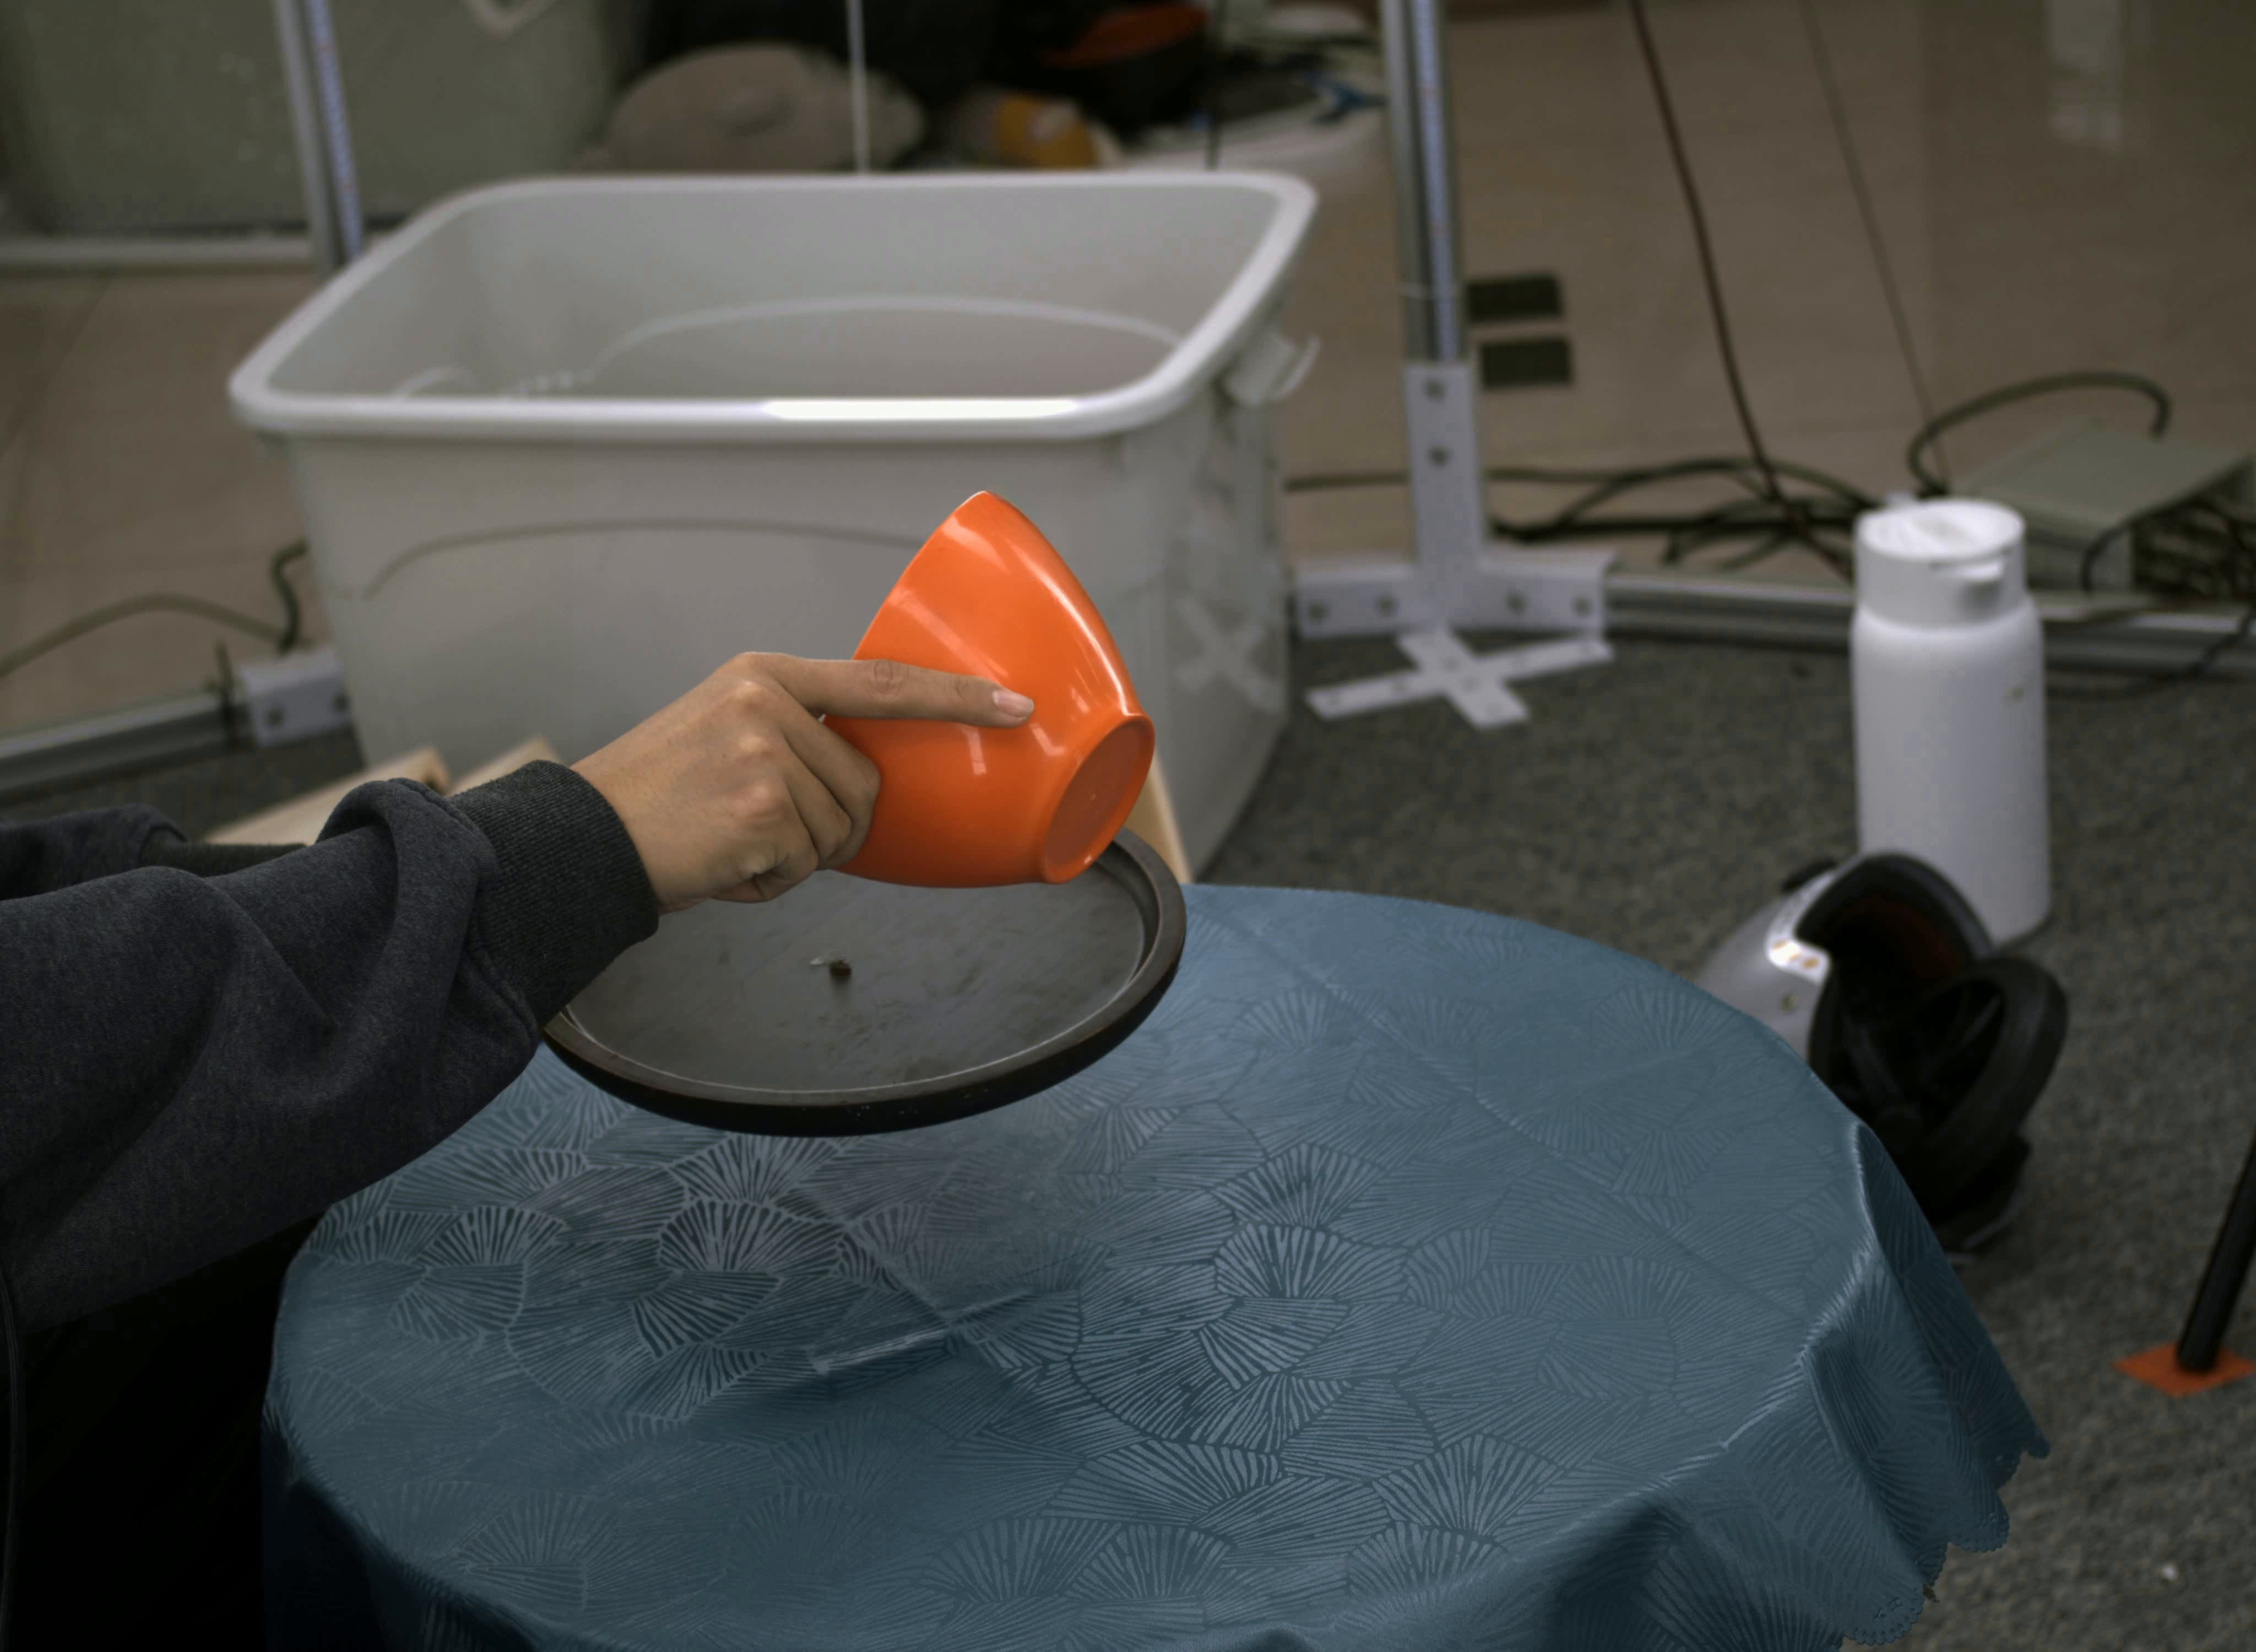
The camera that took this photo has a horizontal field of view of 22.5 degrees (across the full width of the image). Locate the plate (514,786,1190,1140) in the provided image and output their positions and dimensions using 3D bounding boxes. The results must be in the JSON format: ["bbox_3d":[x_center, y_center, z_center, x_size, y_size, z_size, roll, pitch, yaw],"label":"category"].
[{"bbox_3d":[-0.103,0.048,2.123,0.254,0.029,0.250,-2,30,1],"label":"plate"}]

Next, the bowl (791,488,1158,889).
[{"bbox_3d":[-0.045,-0.034,1.968,0.104,0.151,0.146,32,40,20],"label":"bowl"}]
